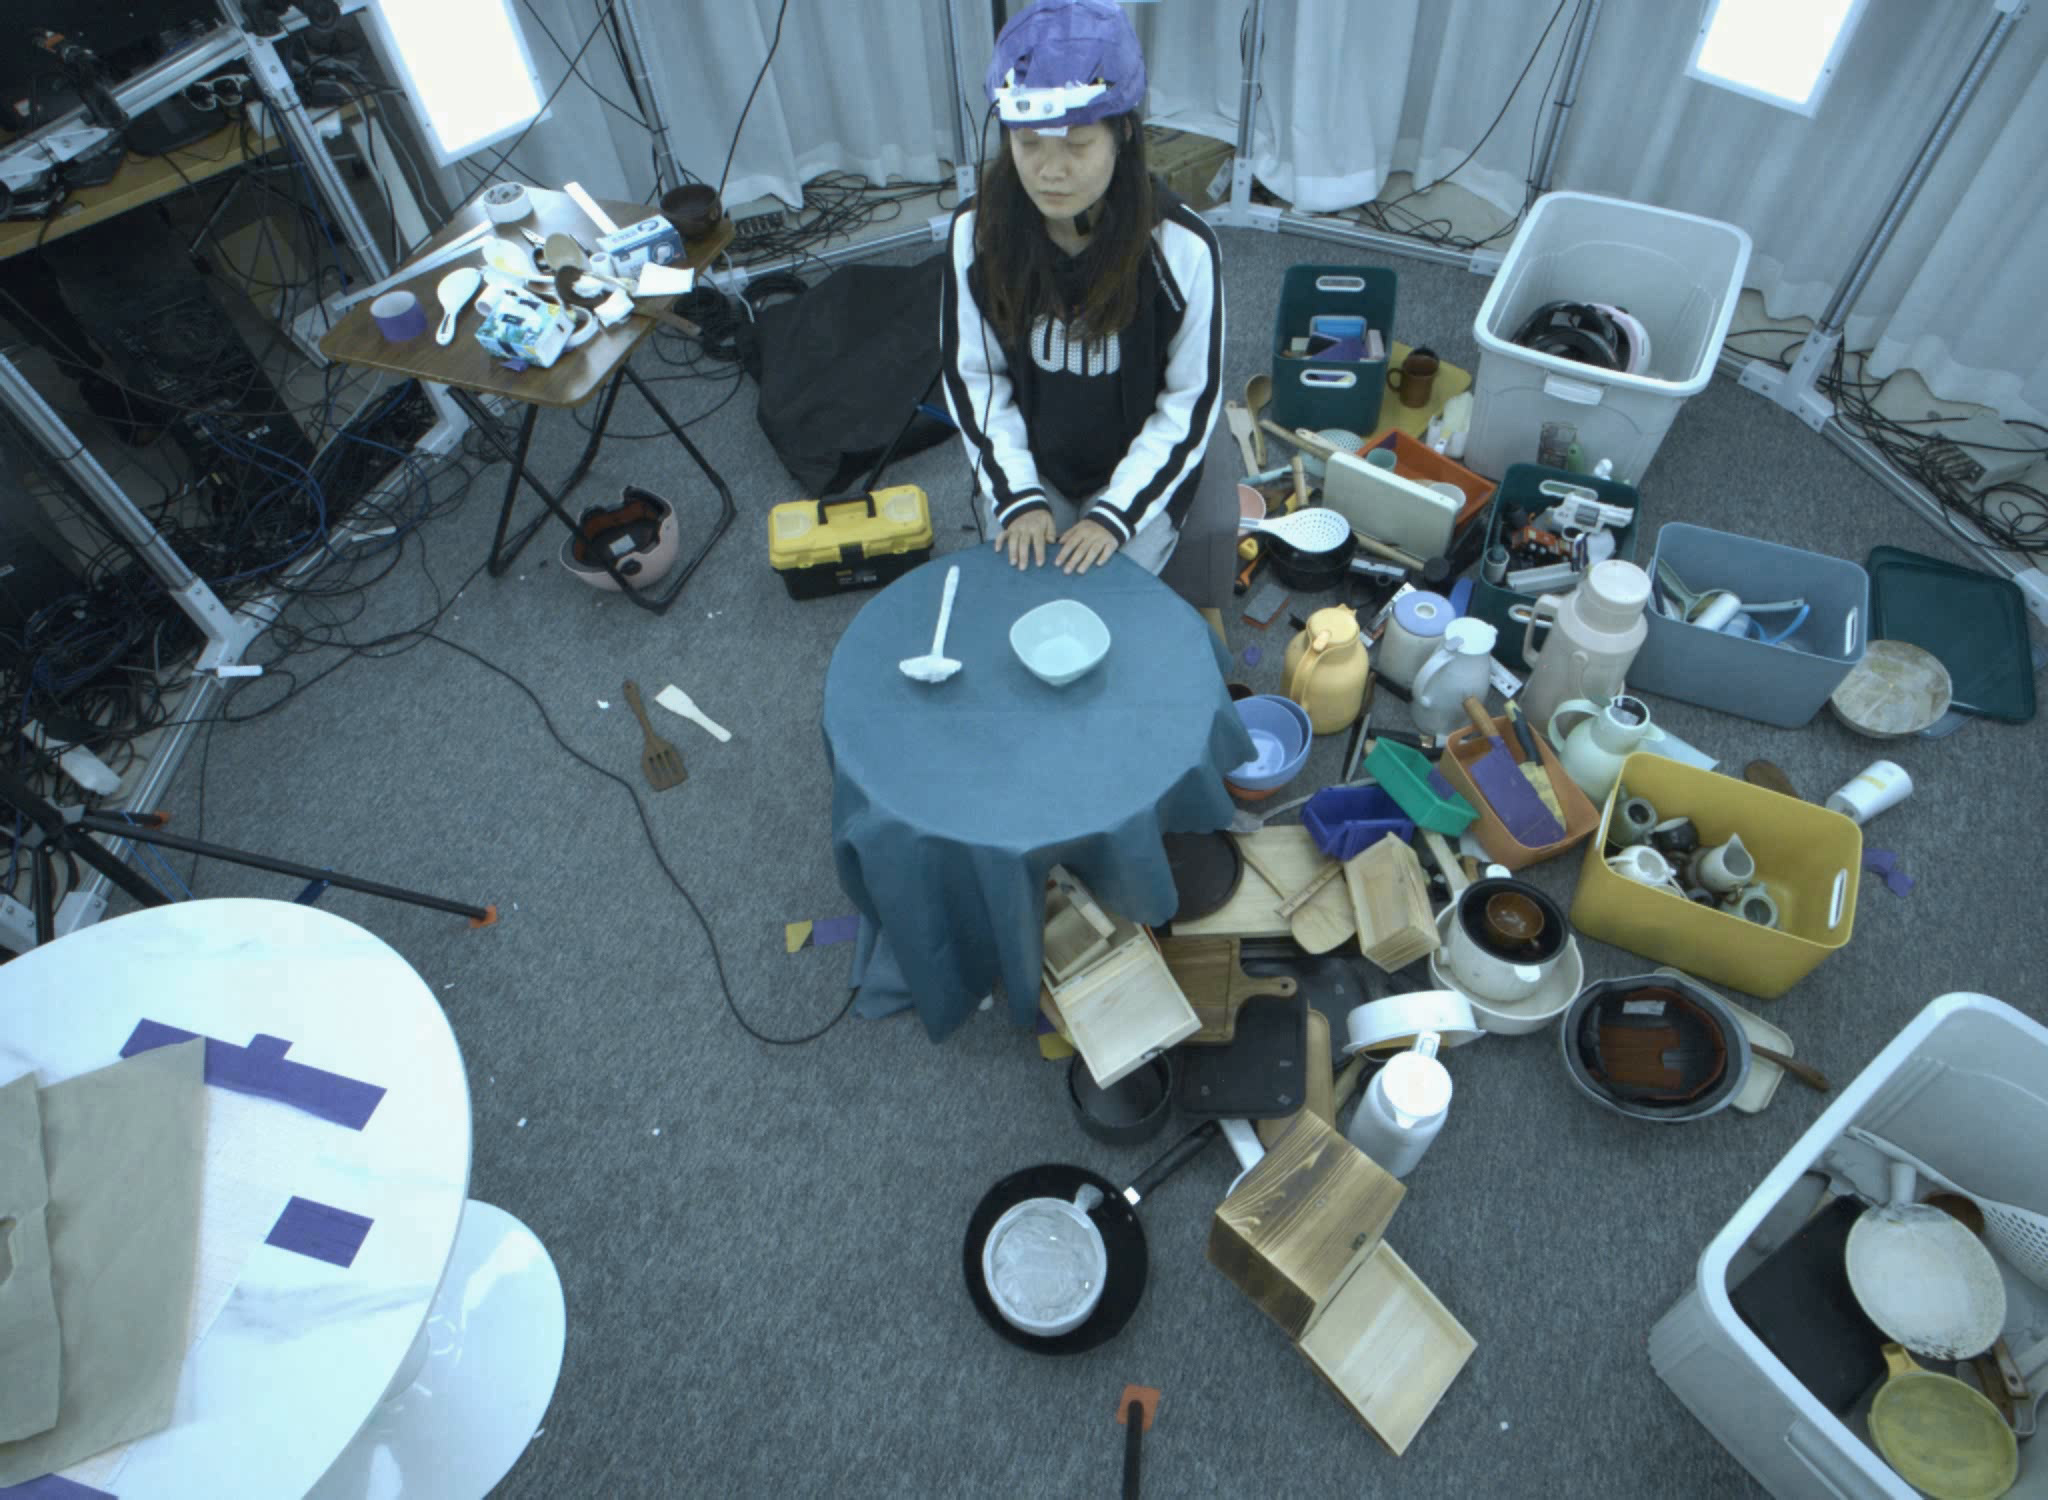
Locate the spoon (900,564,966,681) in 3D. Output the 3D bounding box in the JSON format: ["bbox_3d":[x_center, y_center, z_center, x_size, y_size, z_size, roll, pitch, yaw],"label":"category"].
[{"bbox_3d":[-0.121,-0.206,1.902,0.100,0.060,0.276,10,56,4],"label":"spoon"}]

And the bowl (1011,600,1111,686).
[{"bbox_3d":[0.056,-0.153,1.861,0.151,0.059,0.150,-1,55,2],"label":"bowl"}]
